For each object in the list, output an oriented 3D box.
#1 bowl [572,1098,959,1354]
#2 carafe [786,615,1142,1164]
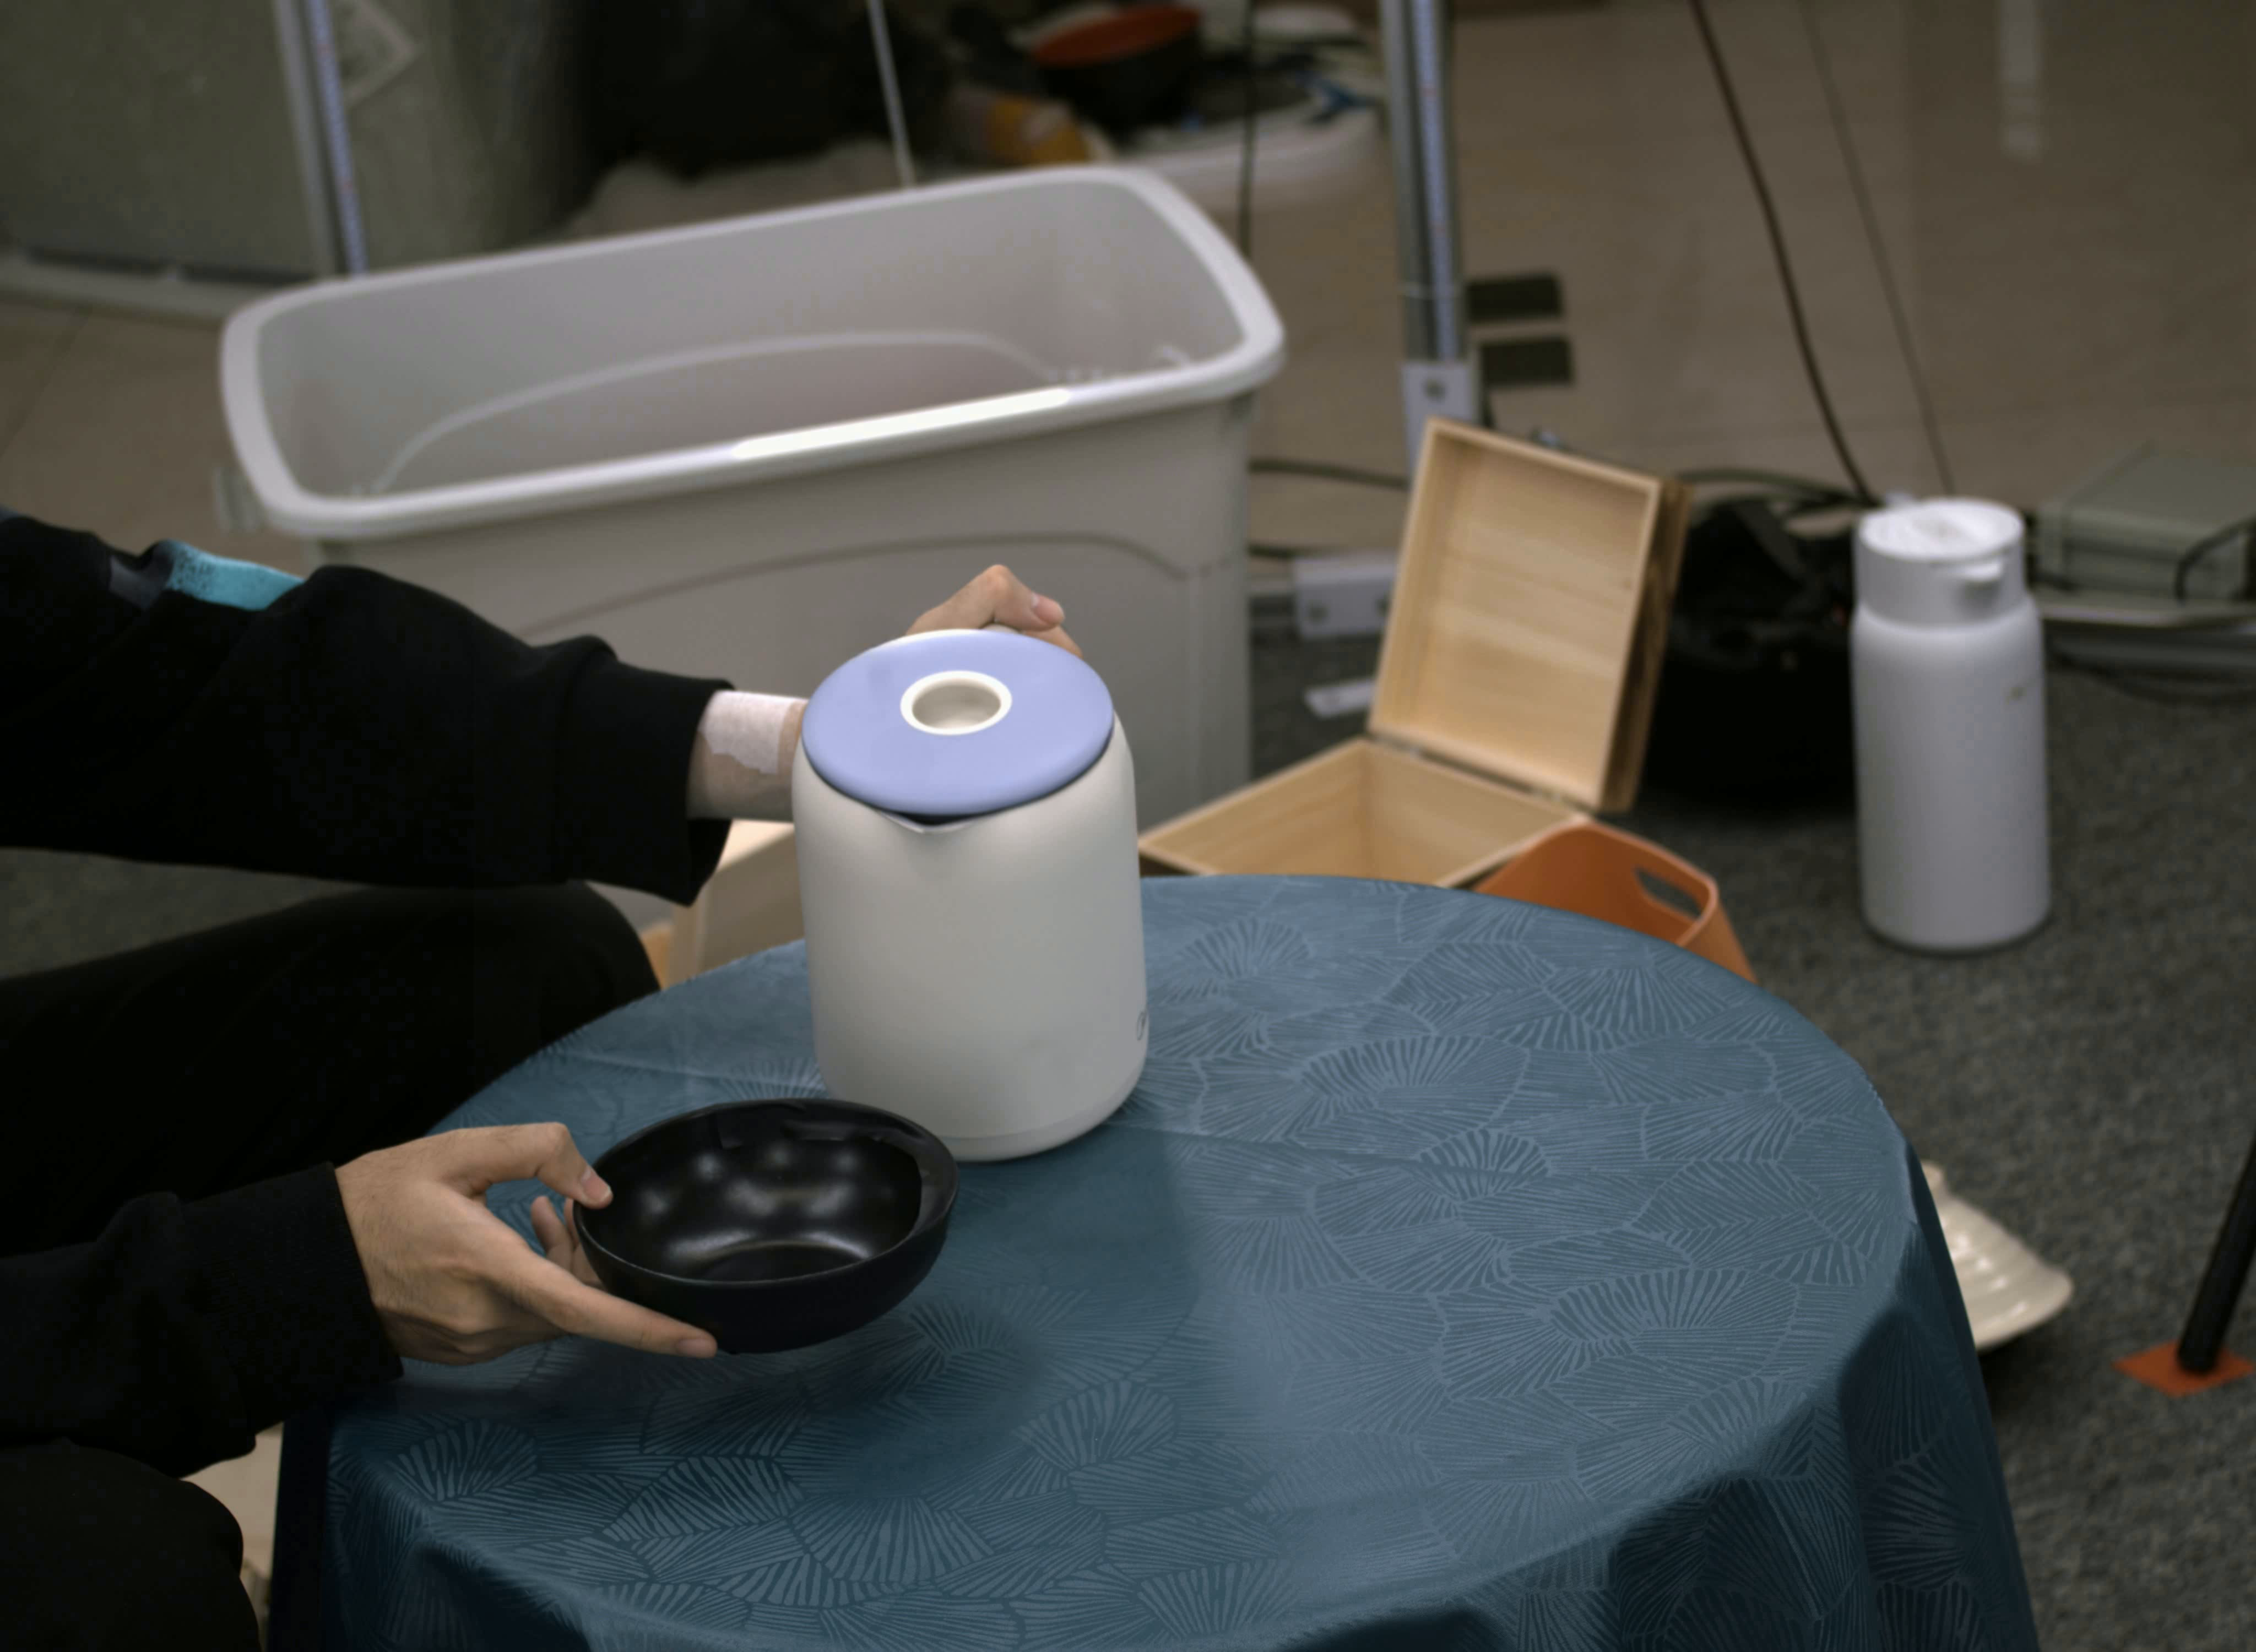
[{"bbox_3d":[-0.128,0.151,2.036,0.140,0.050,0.138,-4,25,2],"label":"bowl"},{"bbox_3d":[-0.060,0.012,2.191,0.132,0.186,0.188,2,35,5],"label":"carafe"}]
